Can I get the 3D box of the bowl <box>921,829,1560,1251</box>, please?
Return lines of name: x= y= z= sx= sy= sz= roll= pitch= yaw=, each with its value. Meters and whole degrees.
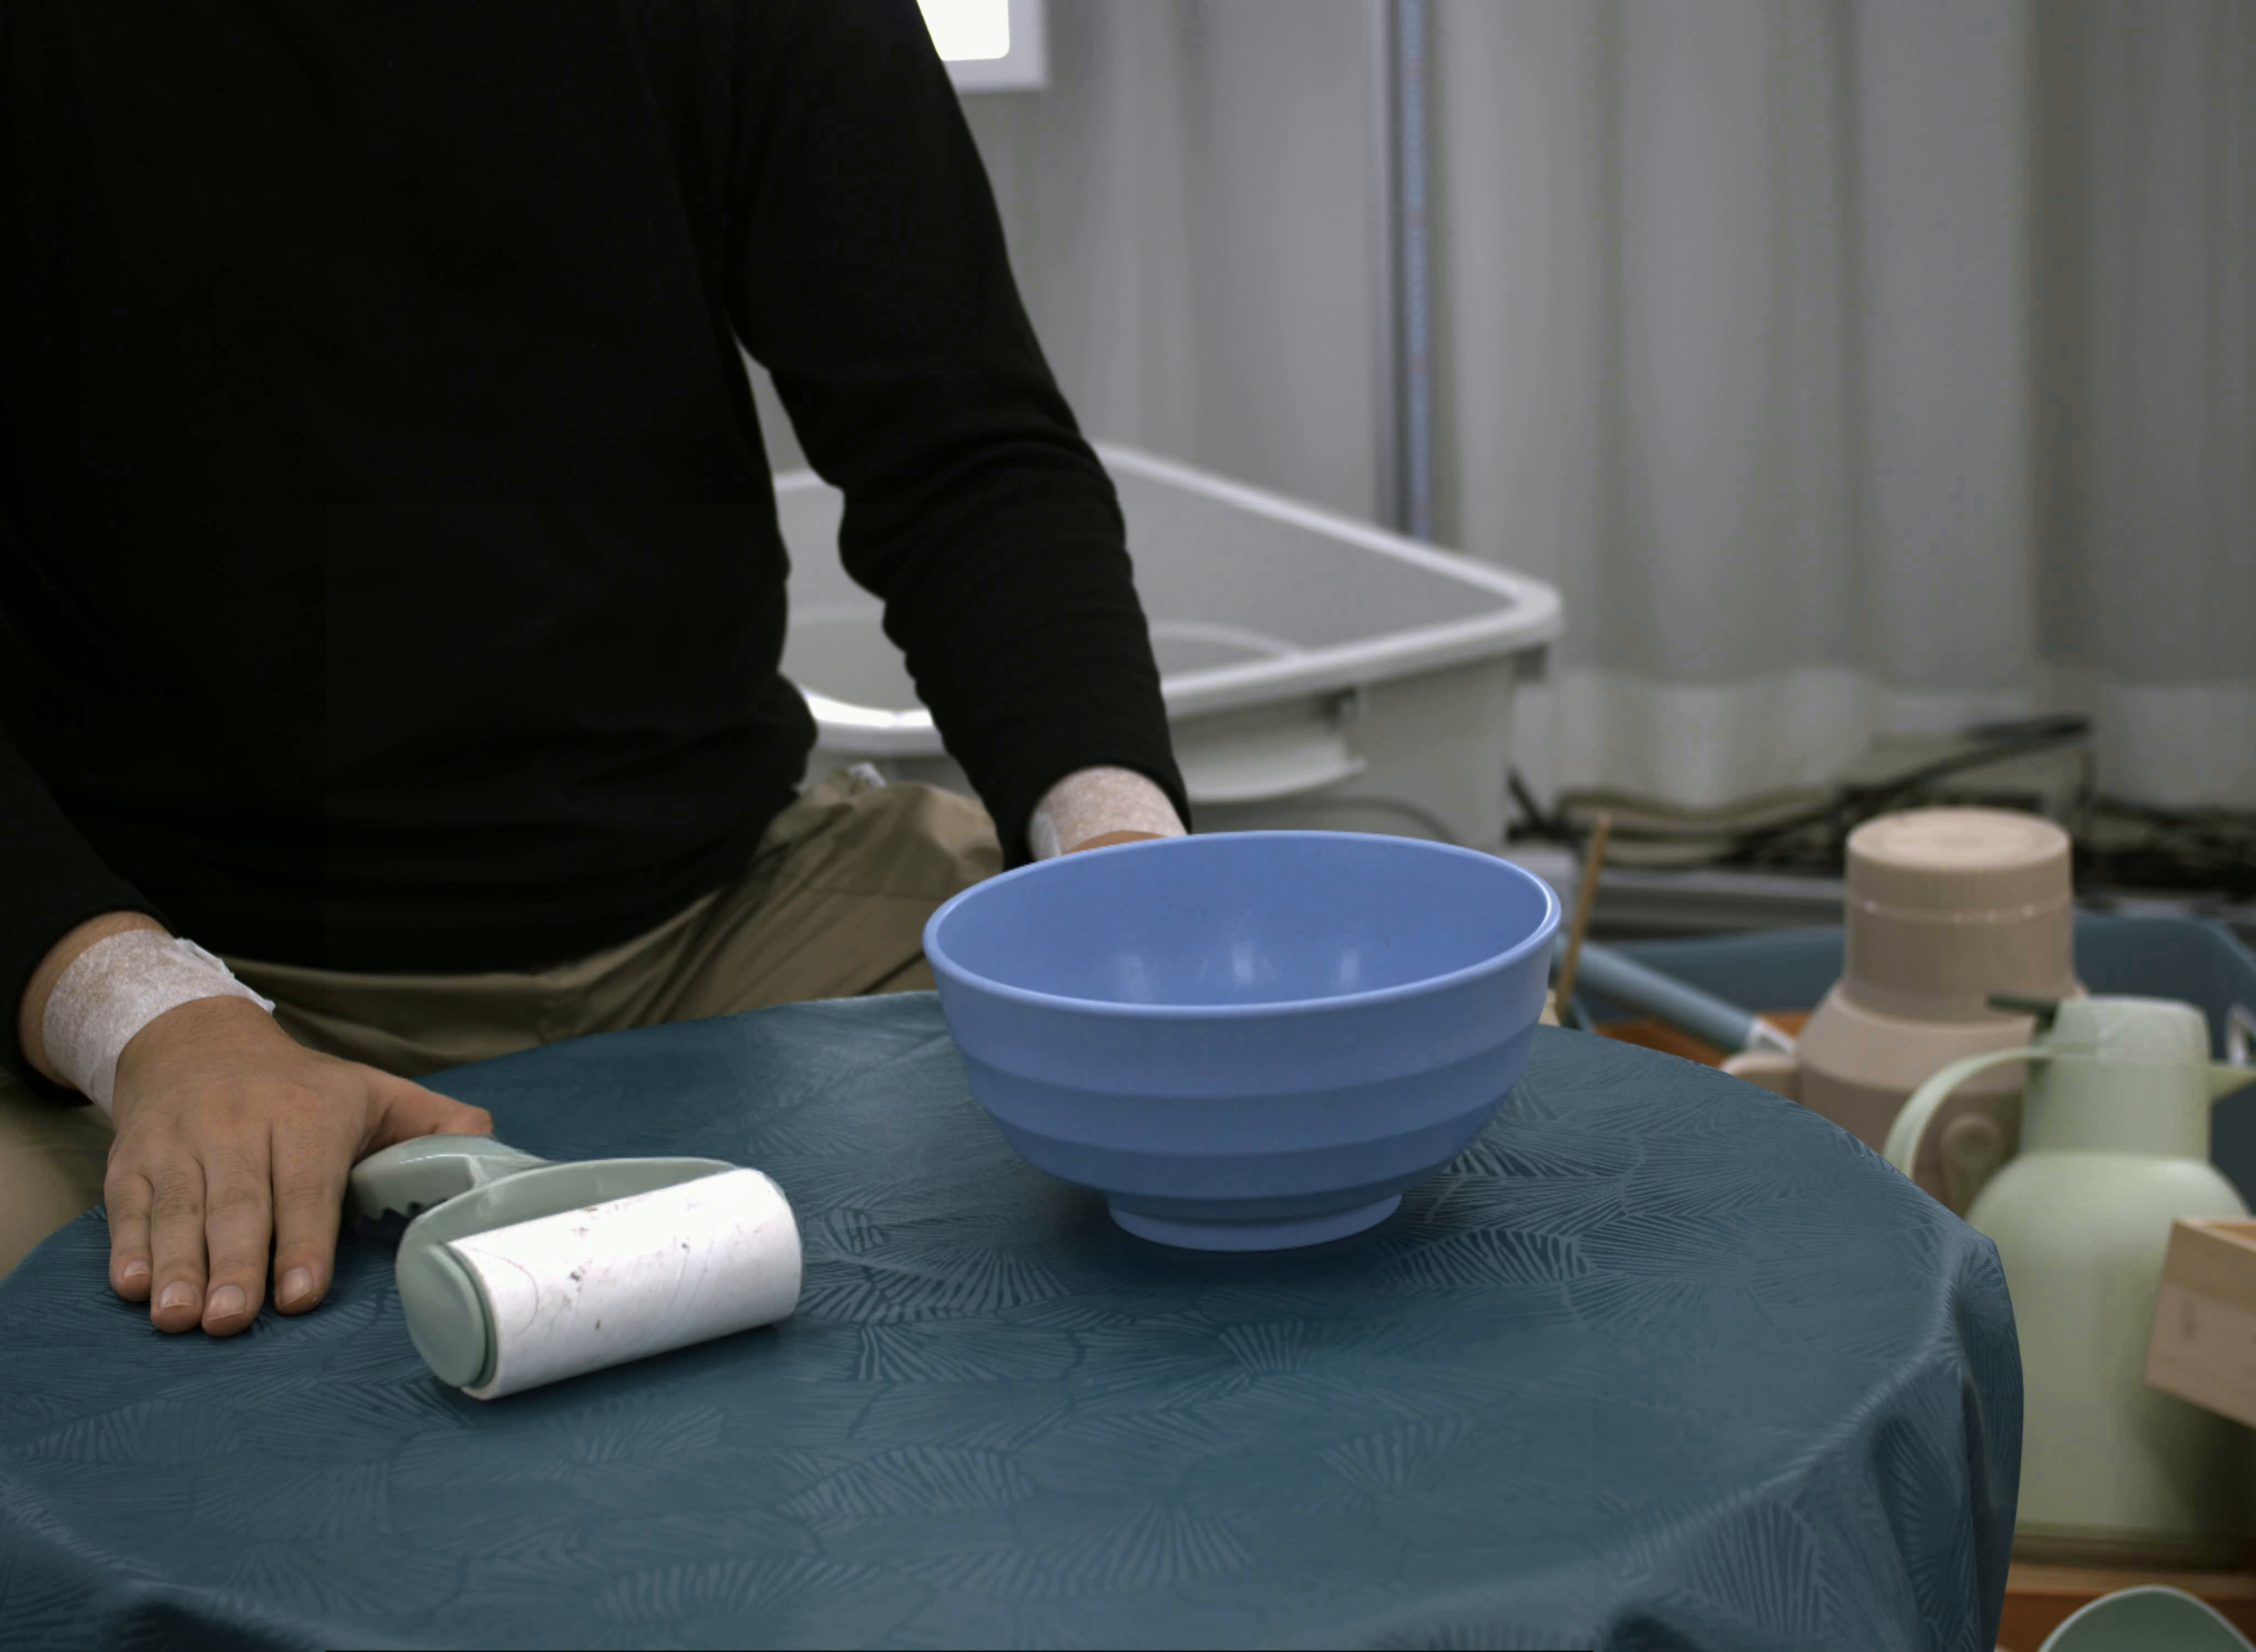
bowl: x=0.037 y=0.071 z=1.685 sx=0.196 sy=0.095 sz=0.198 roll=-4 pitch=15 yaw=1

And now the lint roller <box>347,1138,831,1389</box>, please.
lint roller: x=-0.183 y=0.119 z=1.650 sx=0.116 sy=0.048 sz=0.199 roll=-13 pitch=16 yaw=-32
